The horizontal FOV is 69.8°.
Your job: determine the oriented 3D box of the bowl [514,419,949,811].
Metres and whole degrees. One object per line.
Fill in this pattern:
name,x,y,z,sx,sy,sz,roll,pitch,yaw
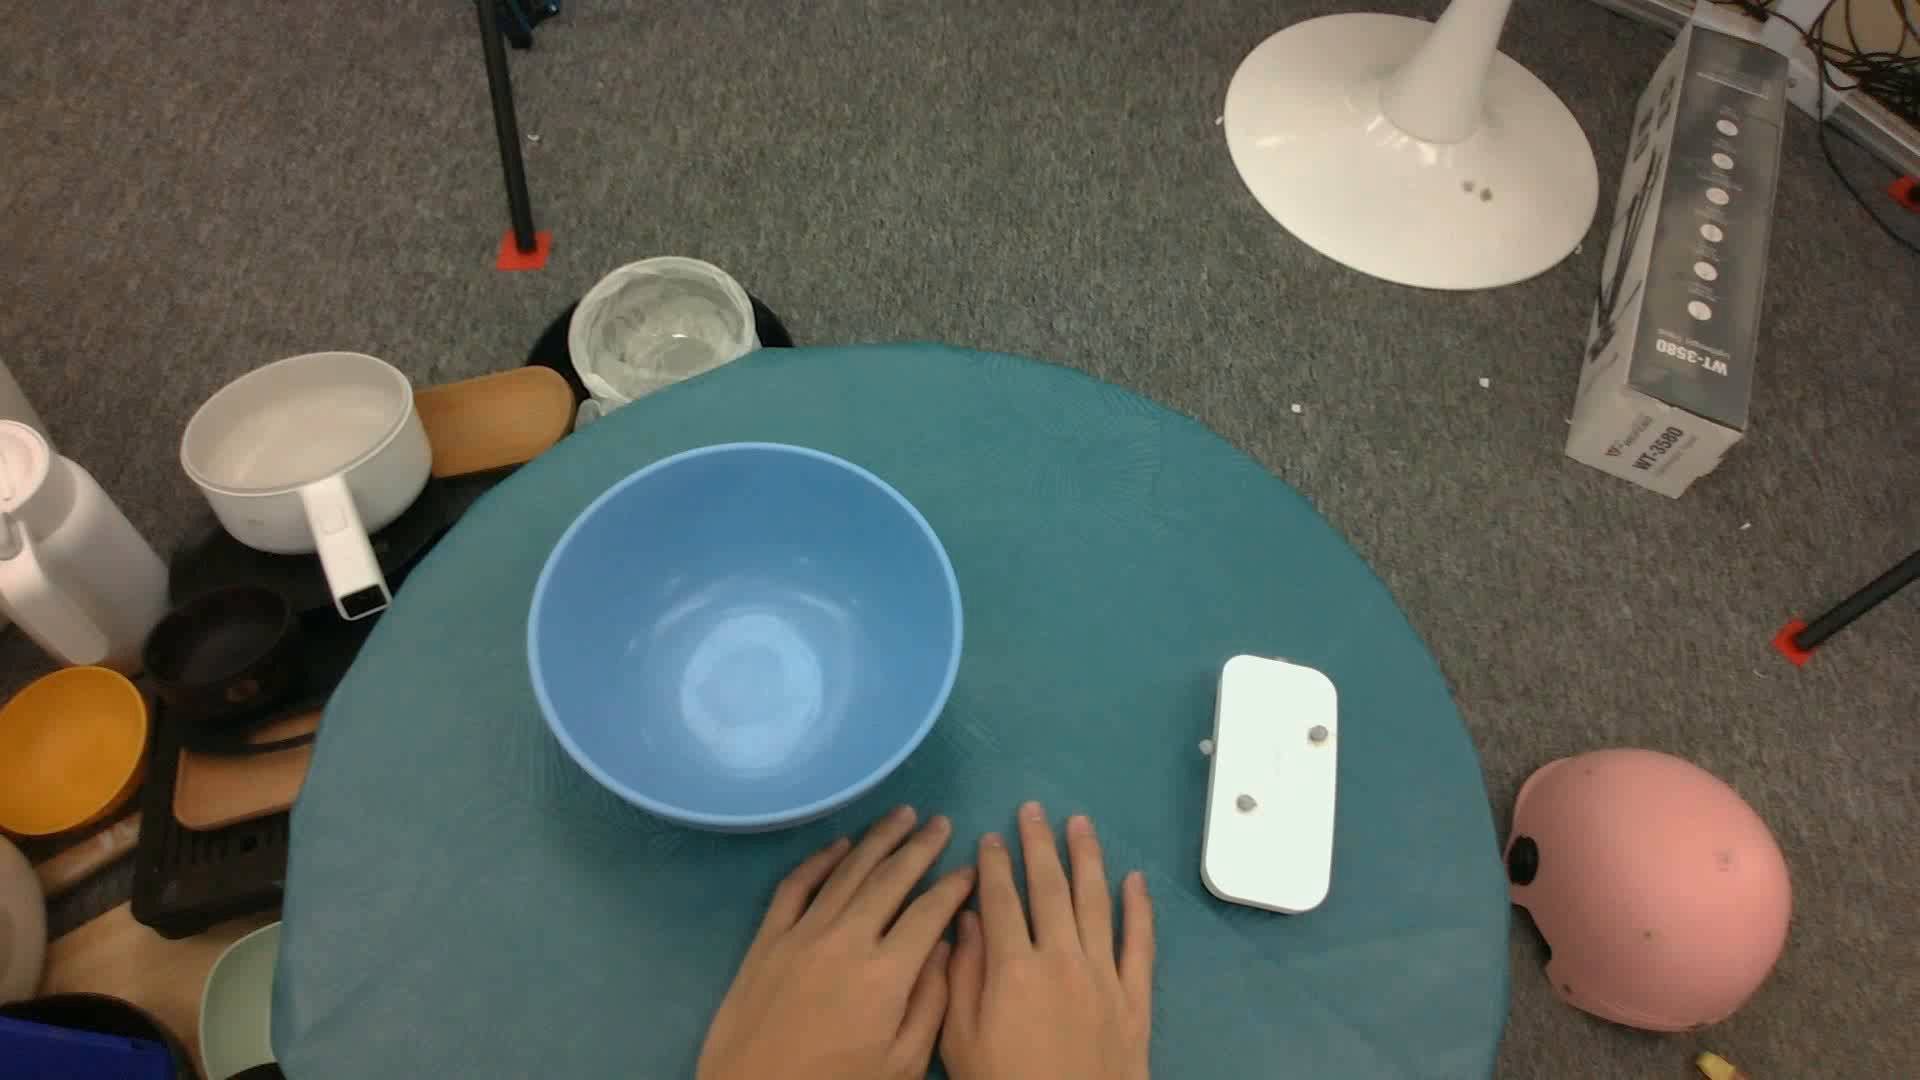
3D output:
bowl,-0.108,0.048,0.669,0.196,0.095,0.197,4,59,-6

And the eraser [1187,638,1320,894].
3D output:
eraser,0.149,0.113,0.705,0.063,0.034,0.132,12,59,0
